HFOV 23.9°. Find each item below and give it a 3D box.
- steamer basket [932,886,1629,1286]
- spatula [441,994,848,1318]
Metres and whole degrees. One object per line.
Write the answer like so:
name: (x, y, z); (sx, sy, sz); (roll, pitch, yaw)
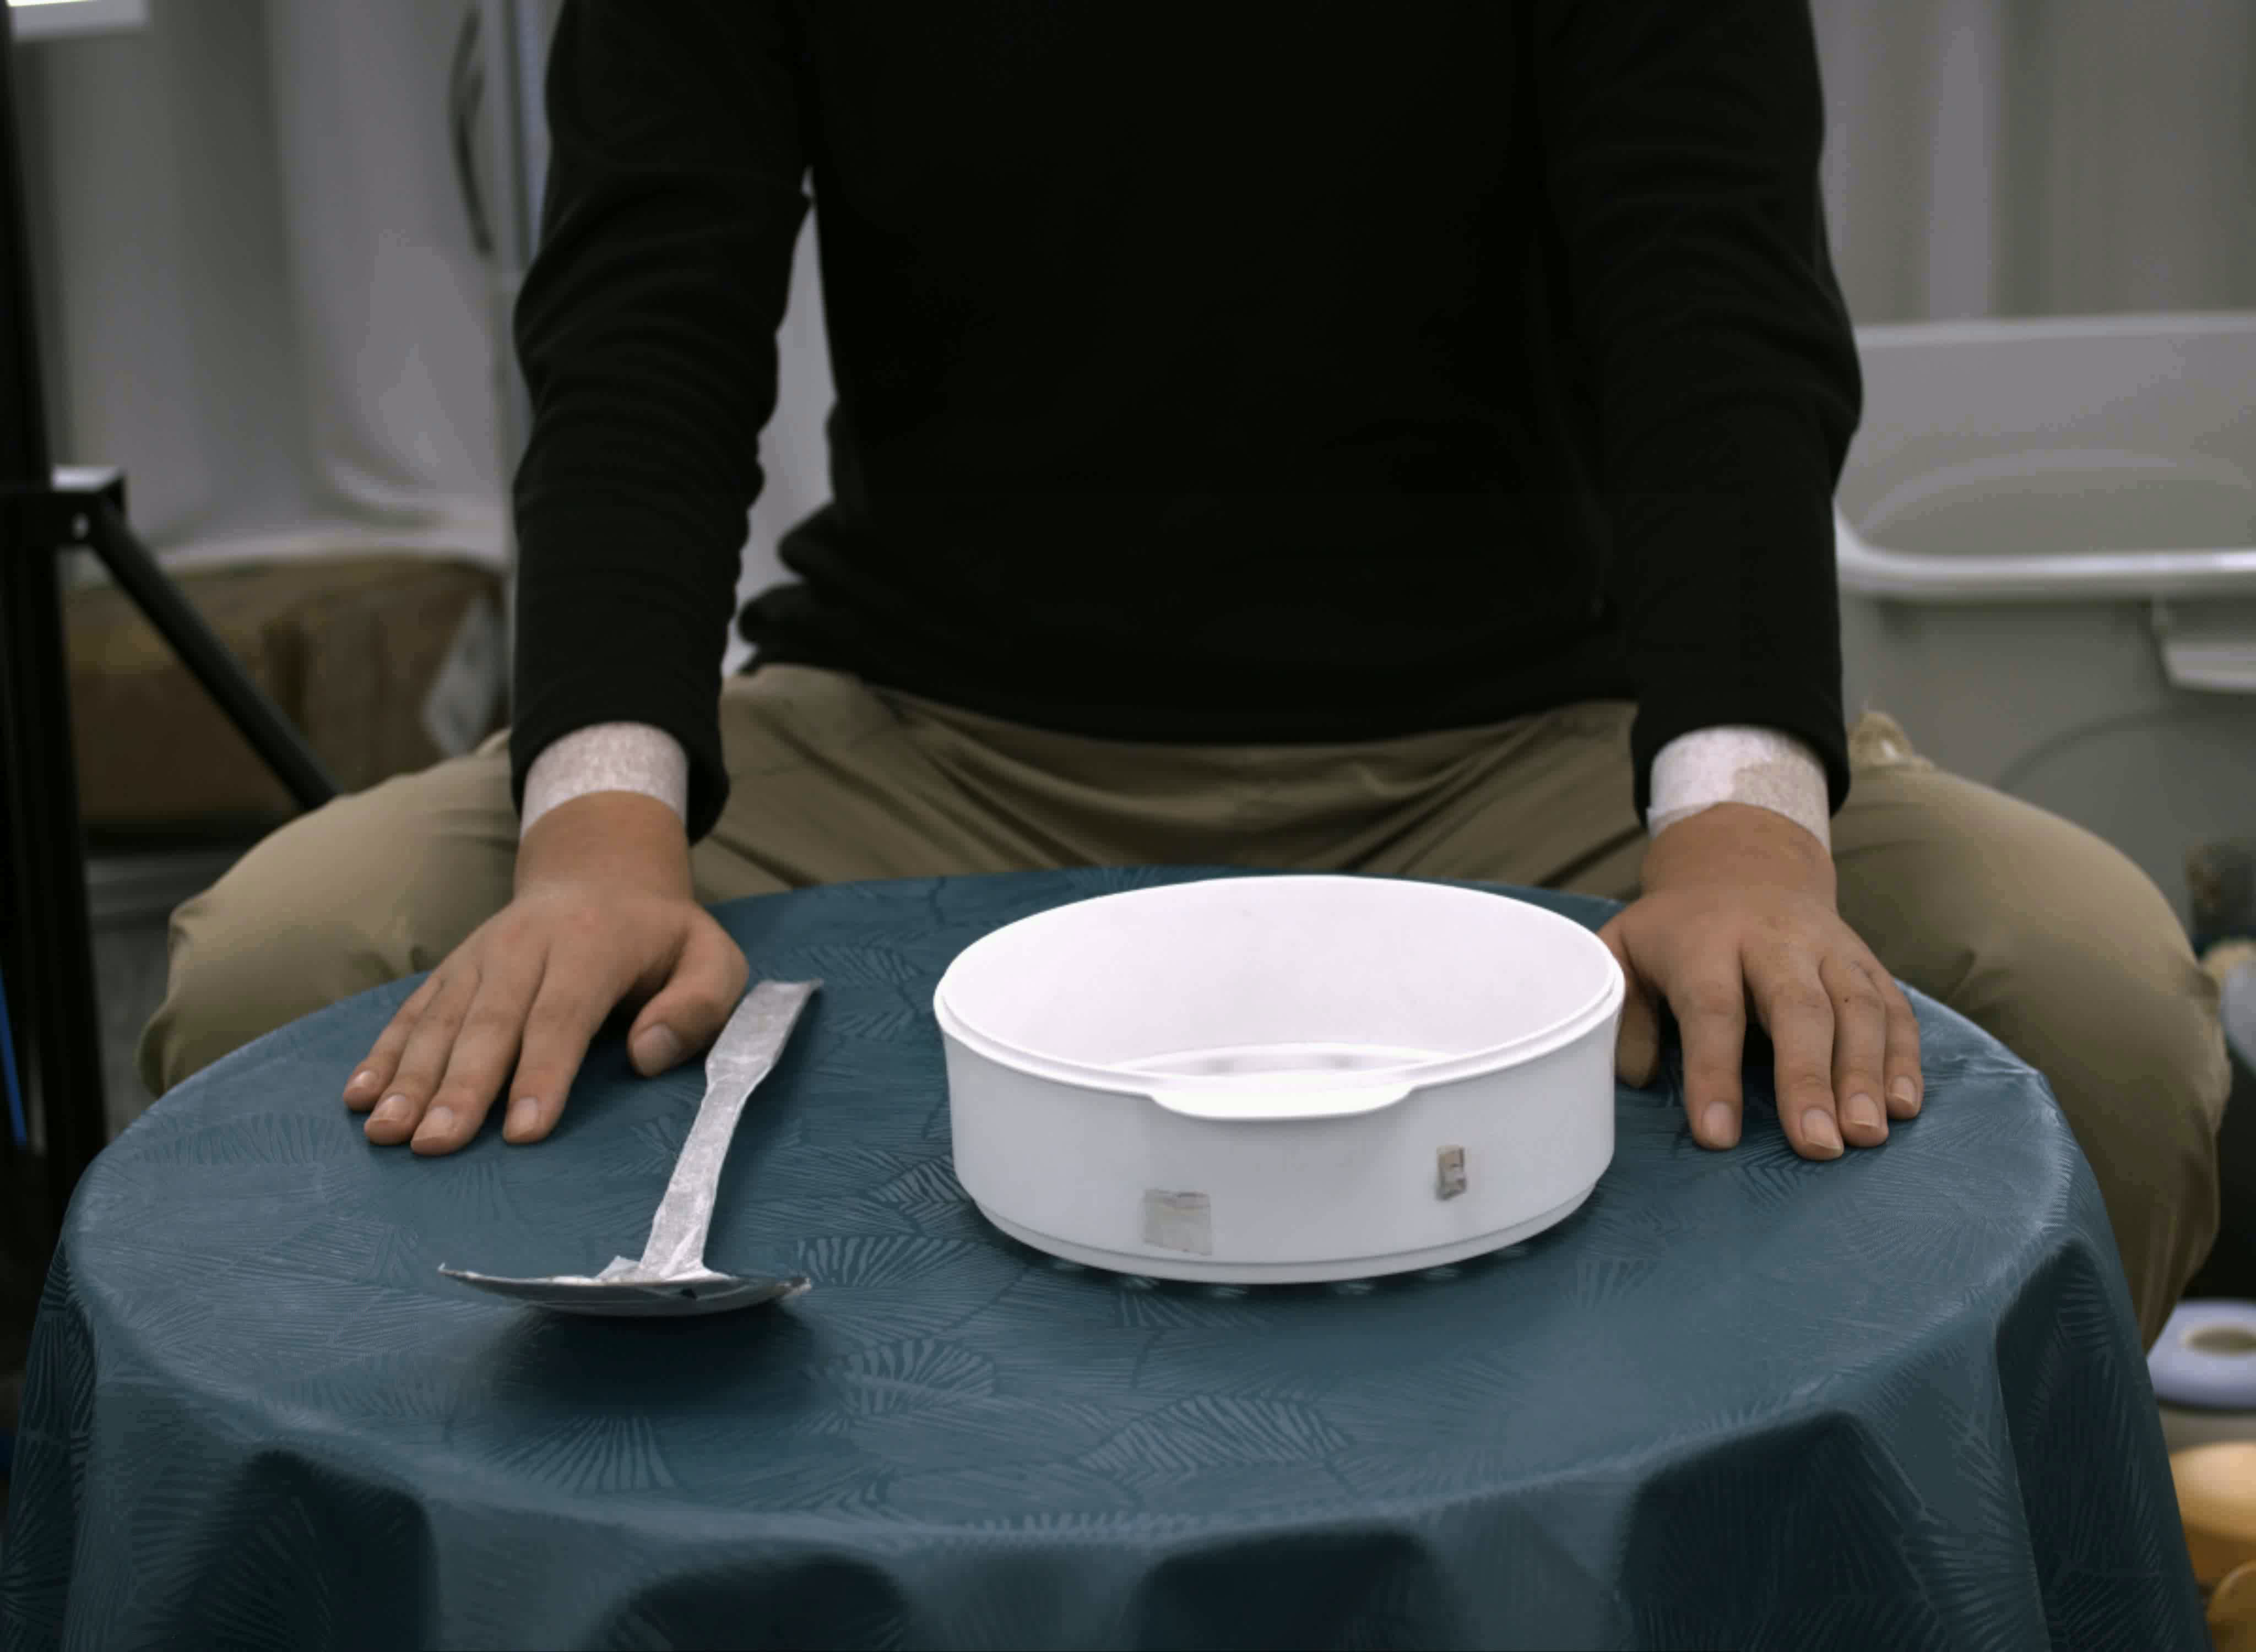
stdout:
steamer basket: (0.044, 0.075, 1.540); (0.201, 0.069, 0.231); (-1, 14, 3)
spatula: (-0.120, 0.088, 1.577); (0.099, 0.045, 0.365); (-3, 16, 6)
